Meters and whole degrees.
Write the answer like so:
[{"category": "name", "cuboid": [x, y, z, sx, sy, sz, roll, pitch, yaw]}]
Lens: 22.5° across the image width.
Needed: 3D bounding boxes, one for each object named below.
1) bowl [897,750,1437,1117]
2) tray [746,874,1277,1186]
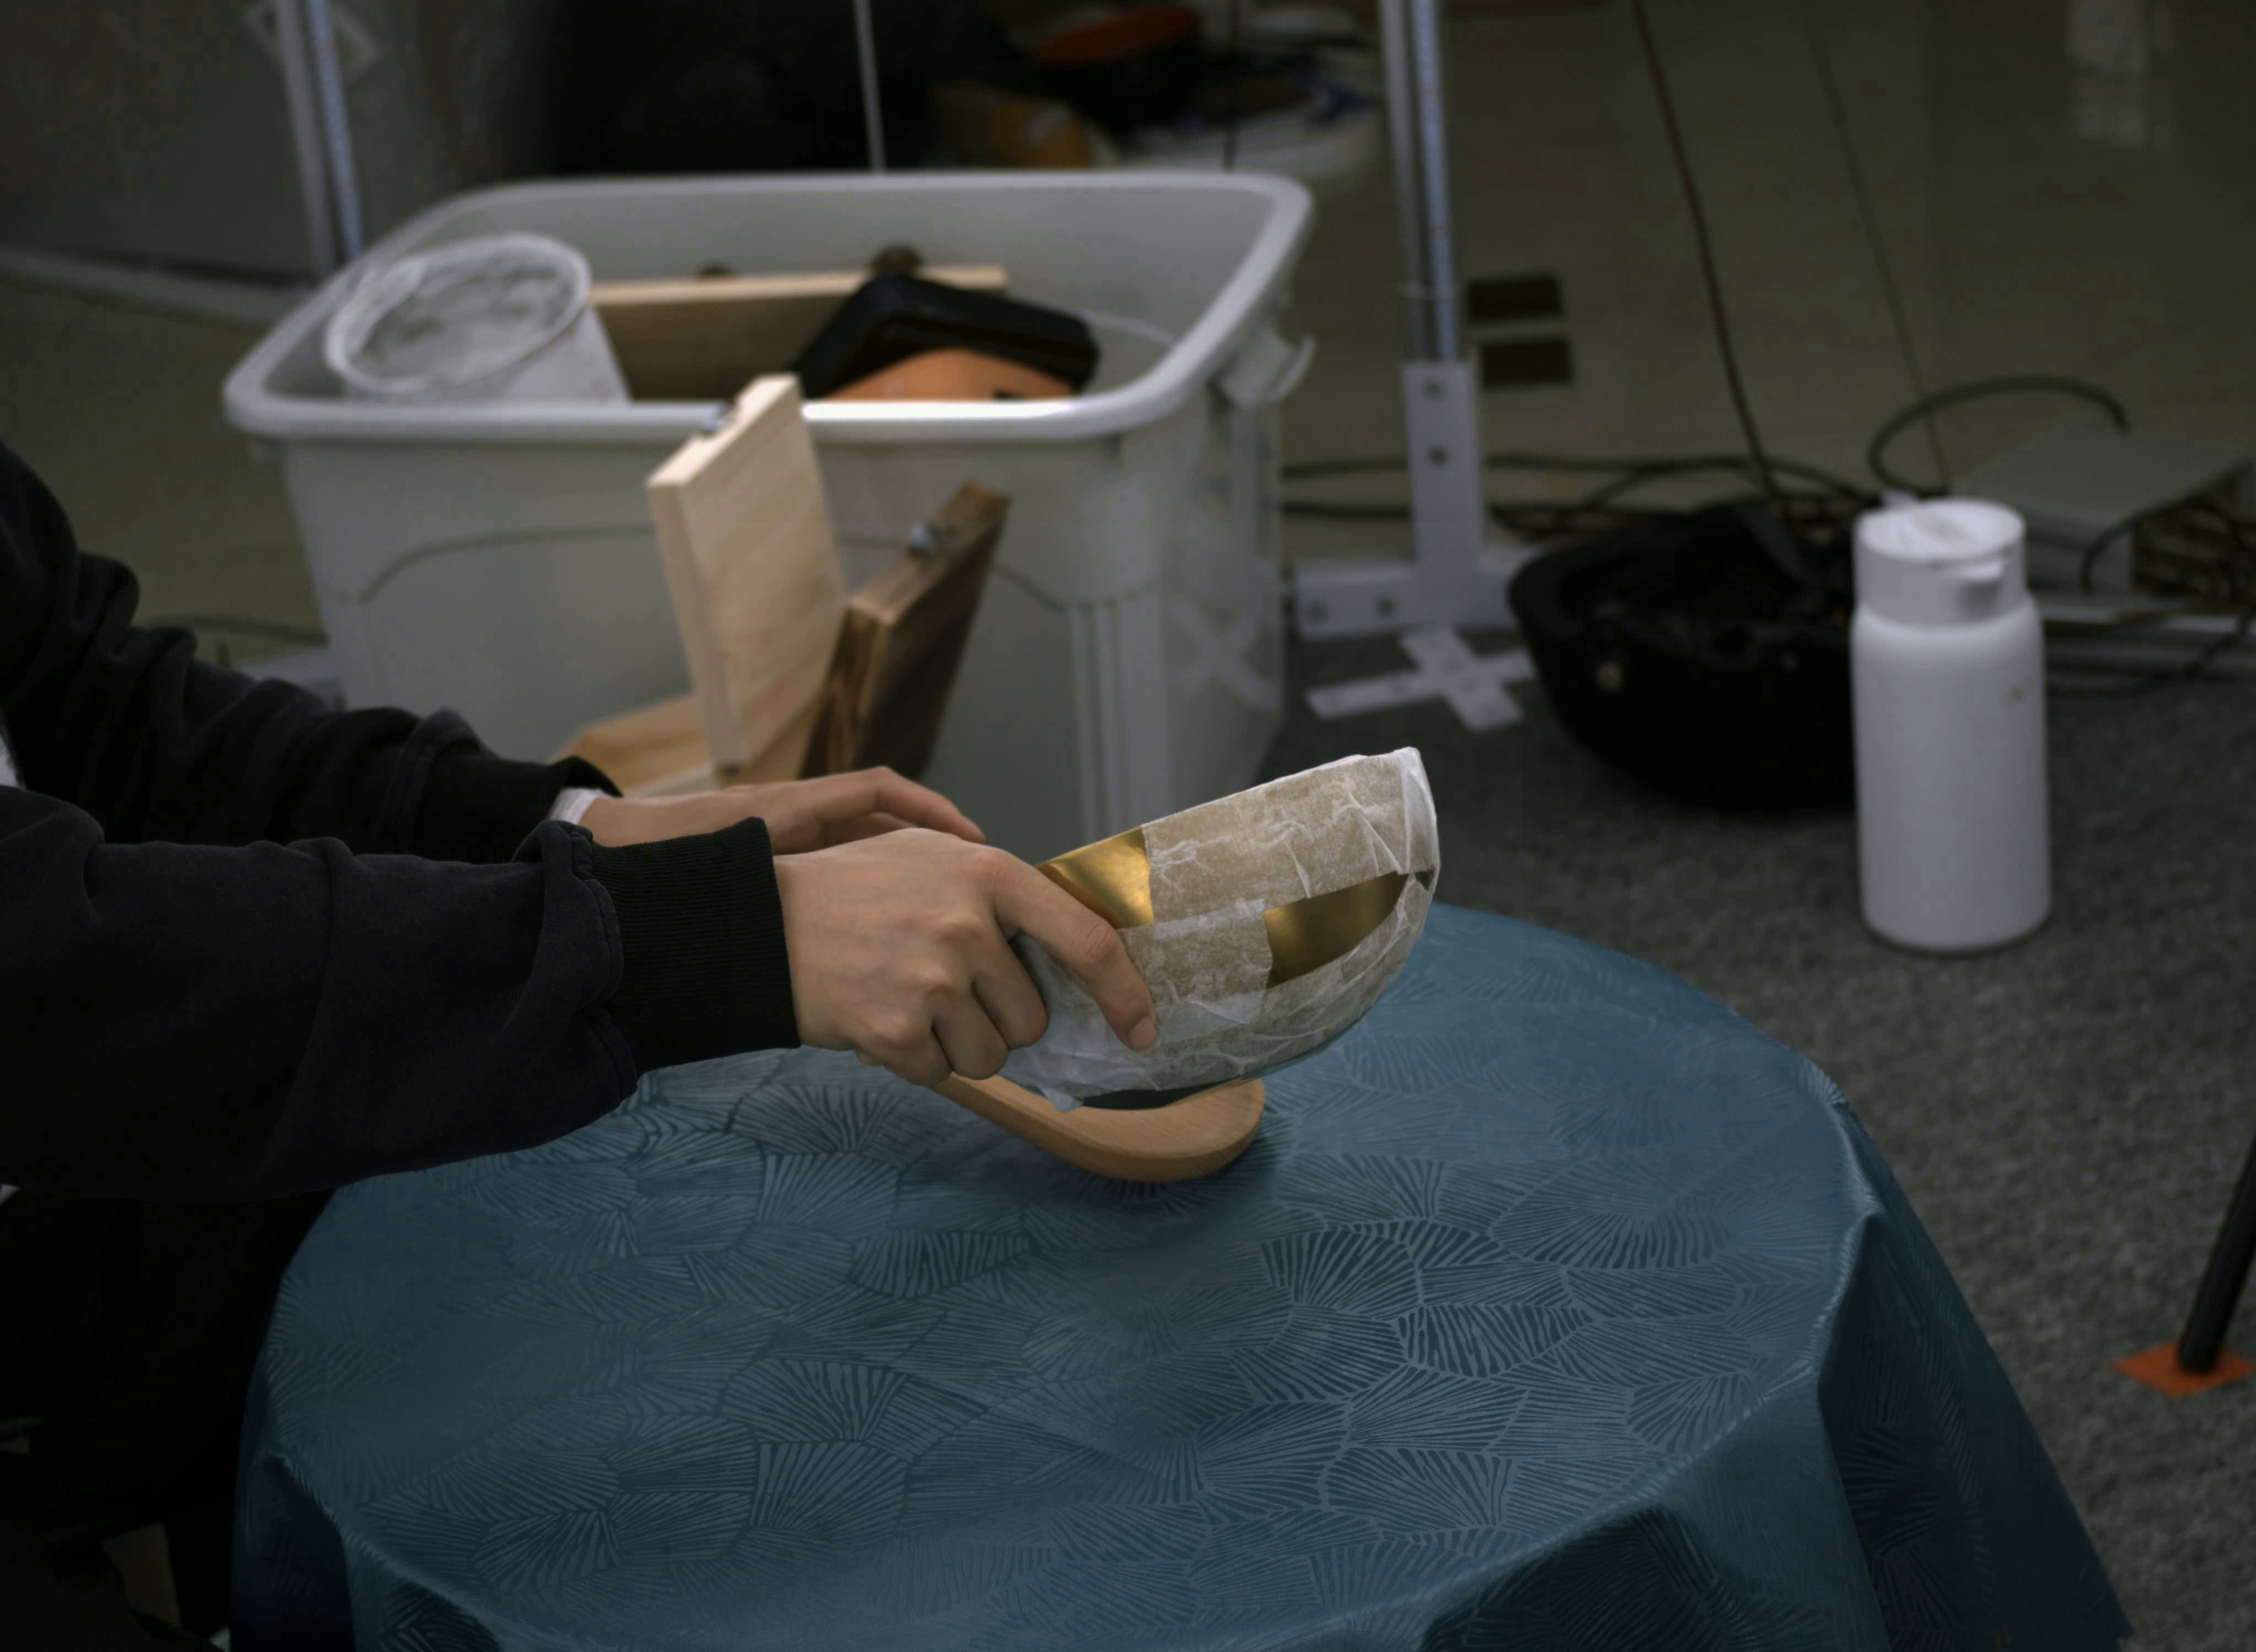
[{"category": "bowl", "cuboid": [0.023, 0.050, 2.042, 0.214, 0.094, 0.215, -20, -4, -1]}, {"category": "tray", "cuboid": [-0.047, 0.079, 2.205, 0.229, 0.021, 0.100, 27, 38, 22]}]
